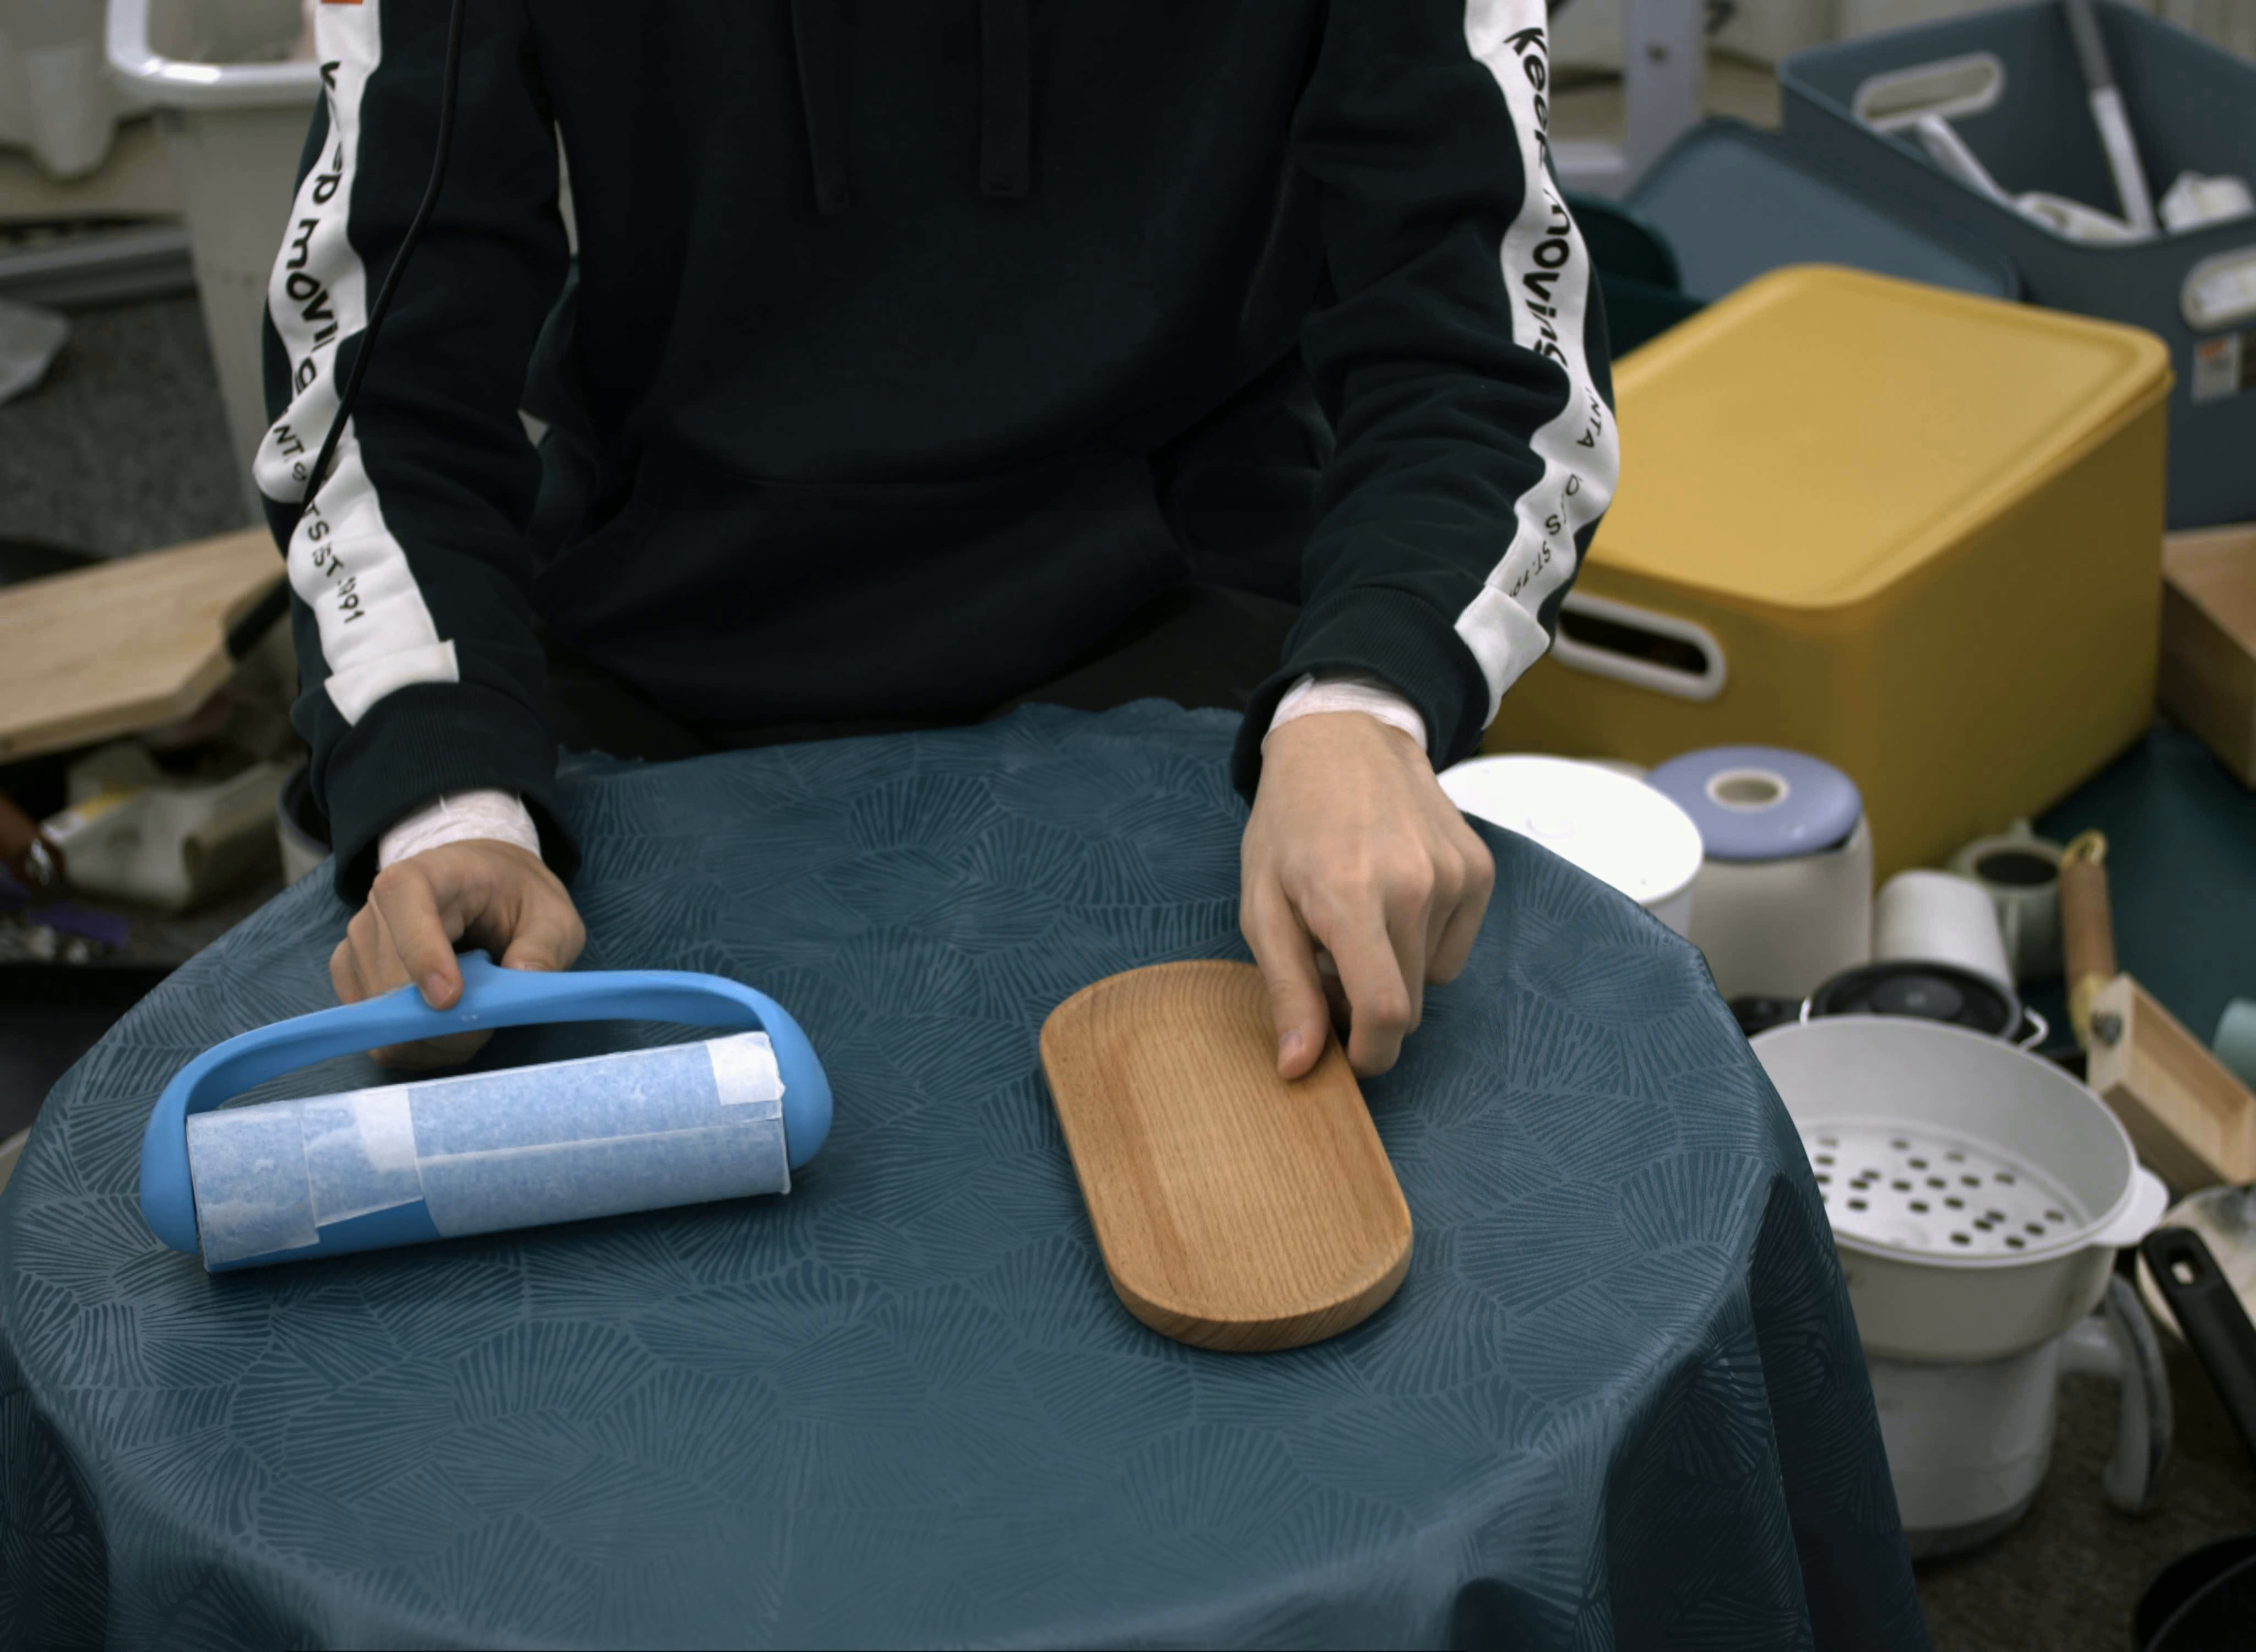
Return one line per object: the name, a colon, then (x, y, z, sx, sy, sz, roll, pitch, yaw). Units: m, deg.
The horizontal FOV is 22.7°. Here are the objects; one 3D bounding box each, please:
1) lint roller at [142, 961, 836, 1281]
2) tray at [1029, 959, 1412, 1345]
lint roller: (-0.223, 0.081, 1.898, 0.229, 0.067, 0.182, -10, 29, -11)
tray: (0.029, 0.106, 1.867, 0.101, 0.020, 0.234, -9, 26, -7)
